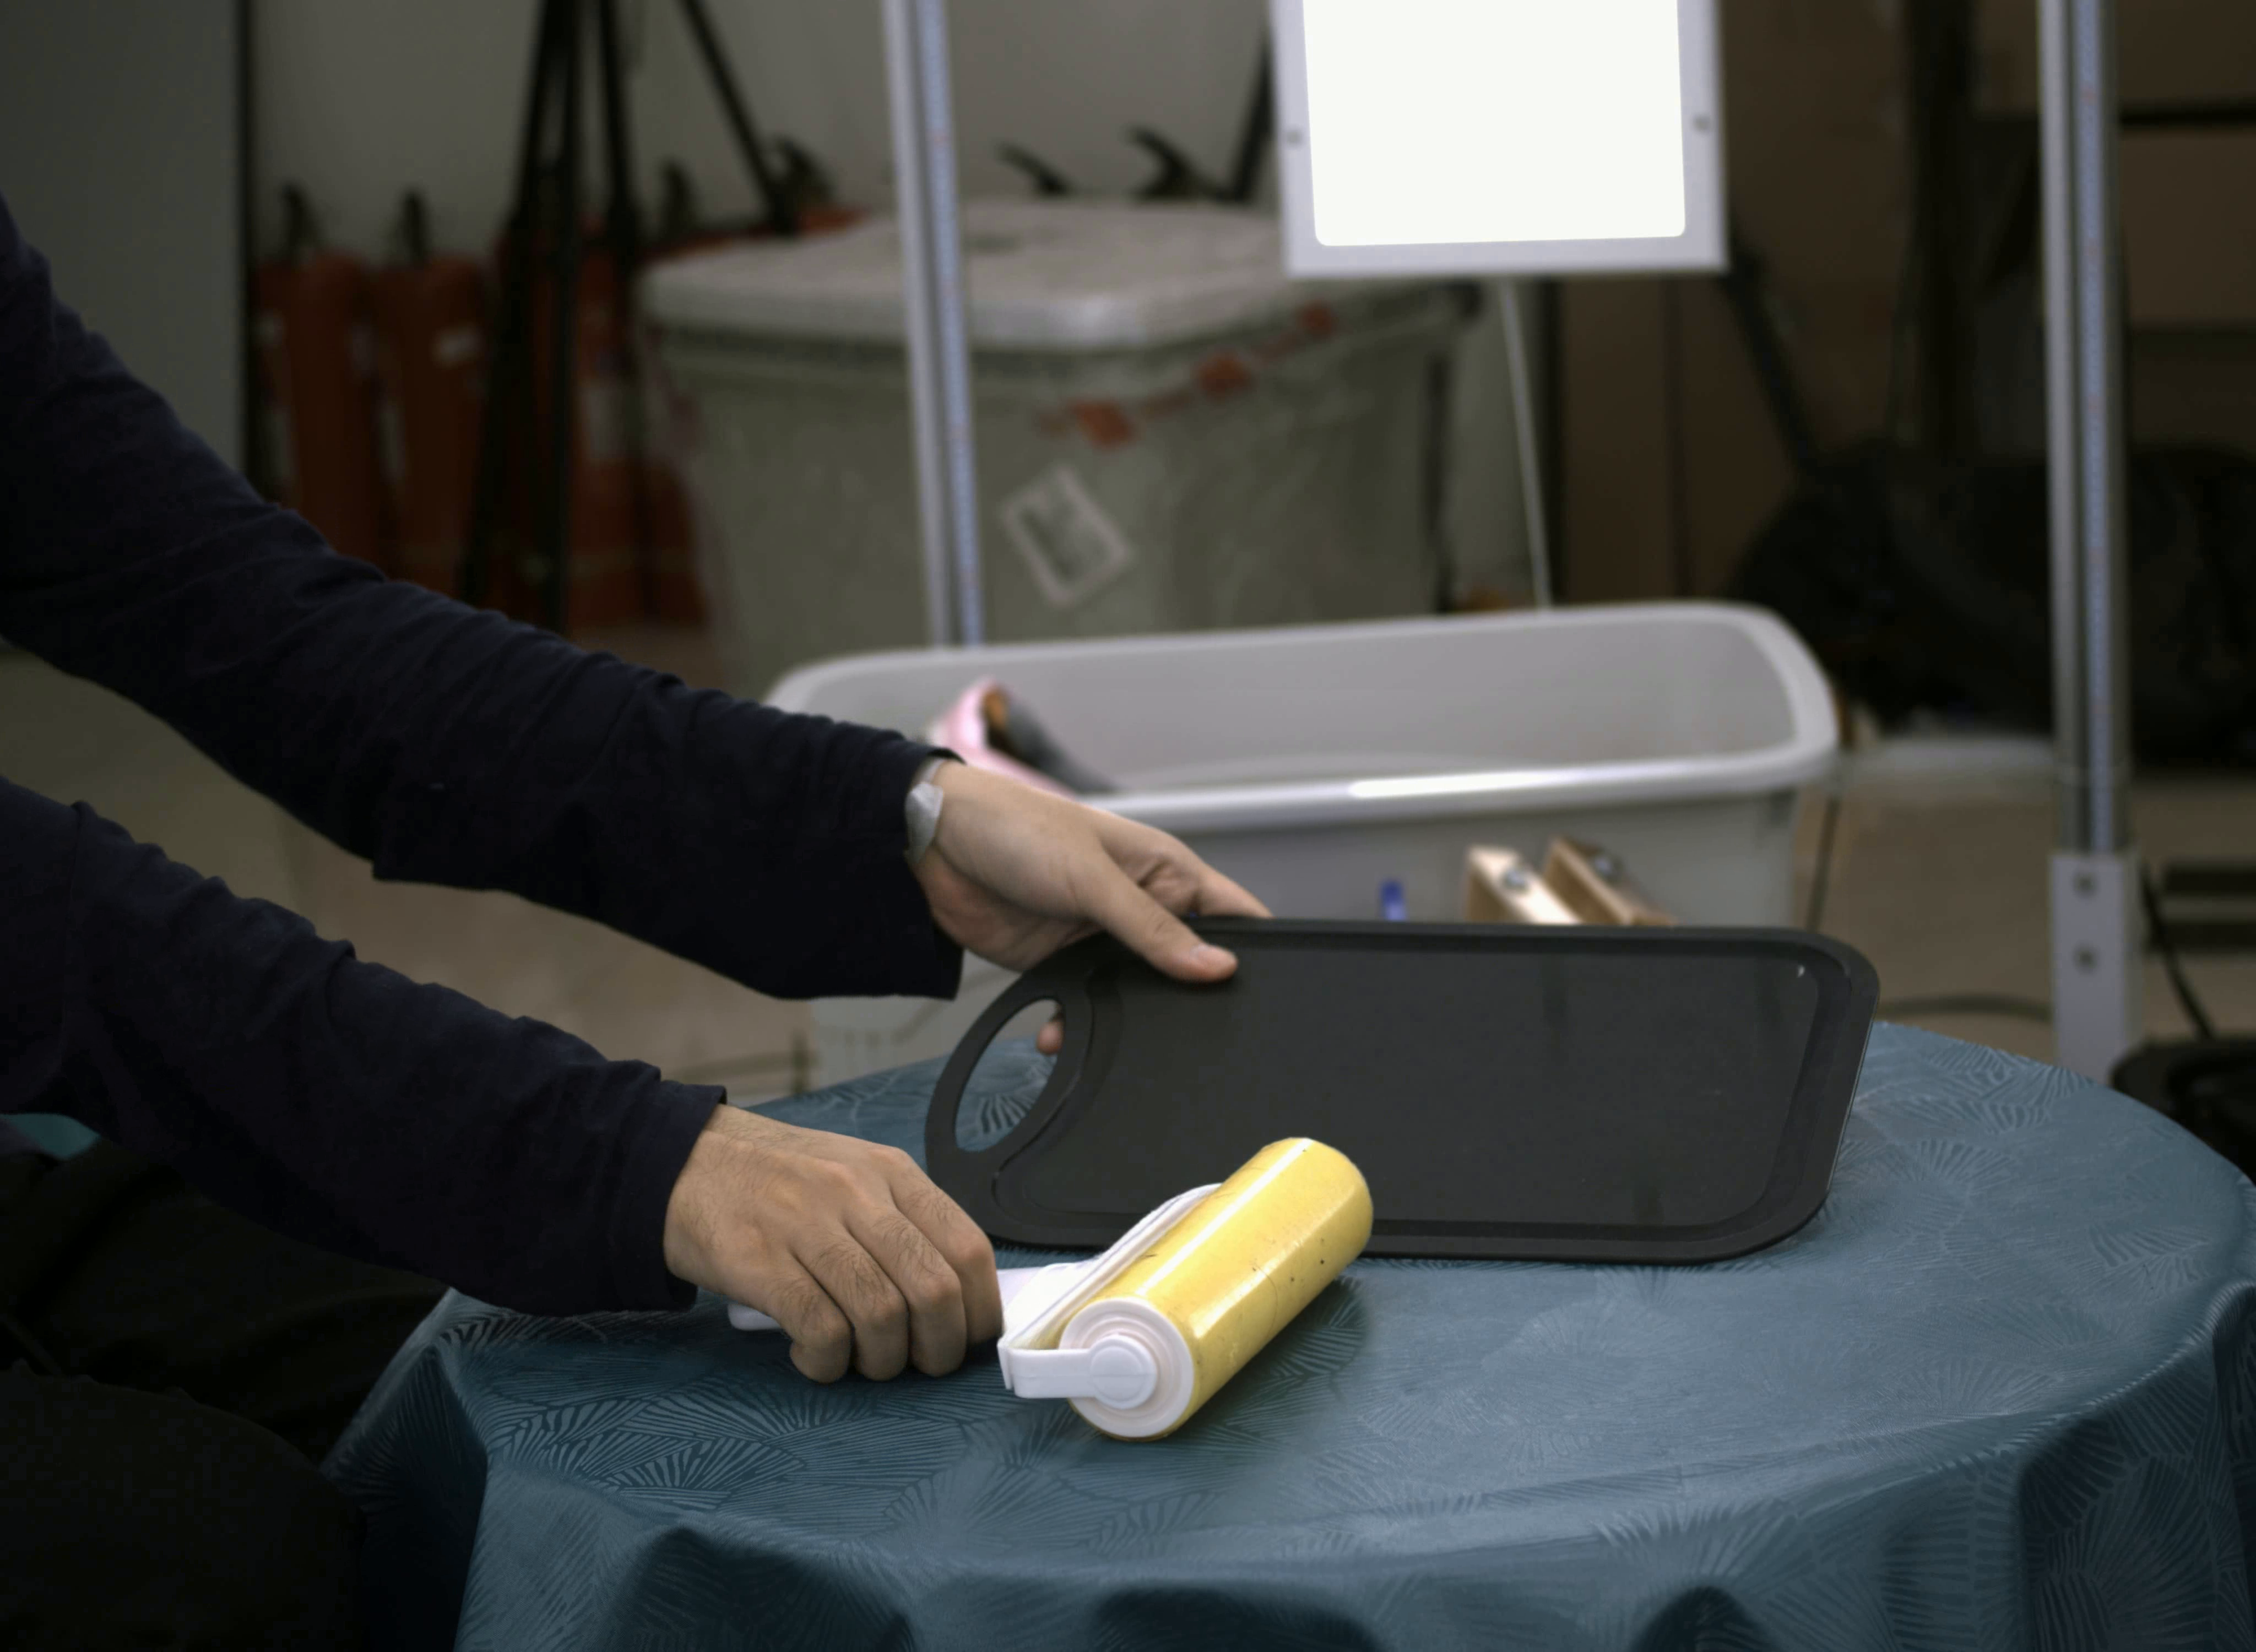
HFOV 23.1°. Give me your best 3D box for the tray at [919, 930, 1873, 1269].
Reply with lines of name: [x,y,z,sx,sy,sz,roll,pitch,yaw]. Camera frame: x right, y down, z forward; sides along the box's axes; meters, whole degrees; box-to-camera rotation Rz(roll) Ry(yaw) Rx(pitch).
tray: [0.088,0.089,1.895,0.329,0.010,0.208,0,30,19]

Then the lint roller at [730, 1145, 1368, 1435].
lint roller: [-0.038,0.142,1.750,0.195,0.051,0.171,3,15,21]
